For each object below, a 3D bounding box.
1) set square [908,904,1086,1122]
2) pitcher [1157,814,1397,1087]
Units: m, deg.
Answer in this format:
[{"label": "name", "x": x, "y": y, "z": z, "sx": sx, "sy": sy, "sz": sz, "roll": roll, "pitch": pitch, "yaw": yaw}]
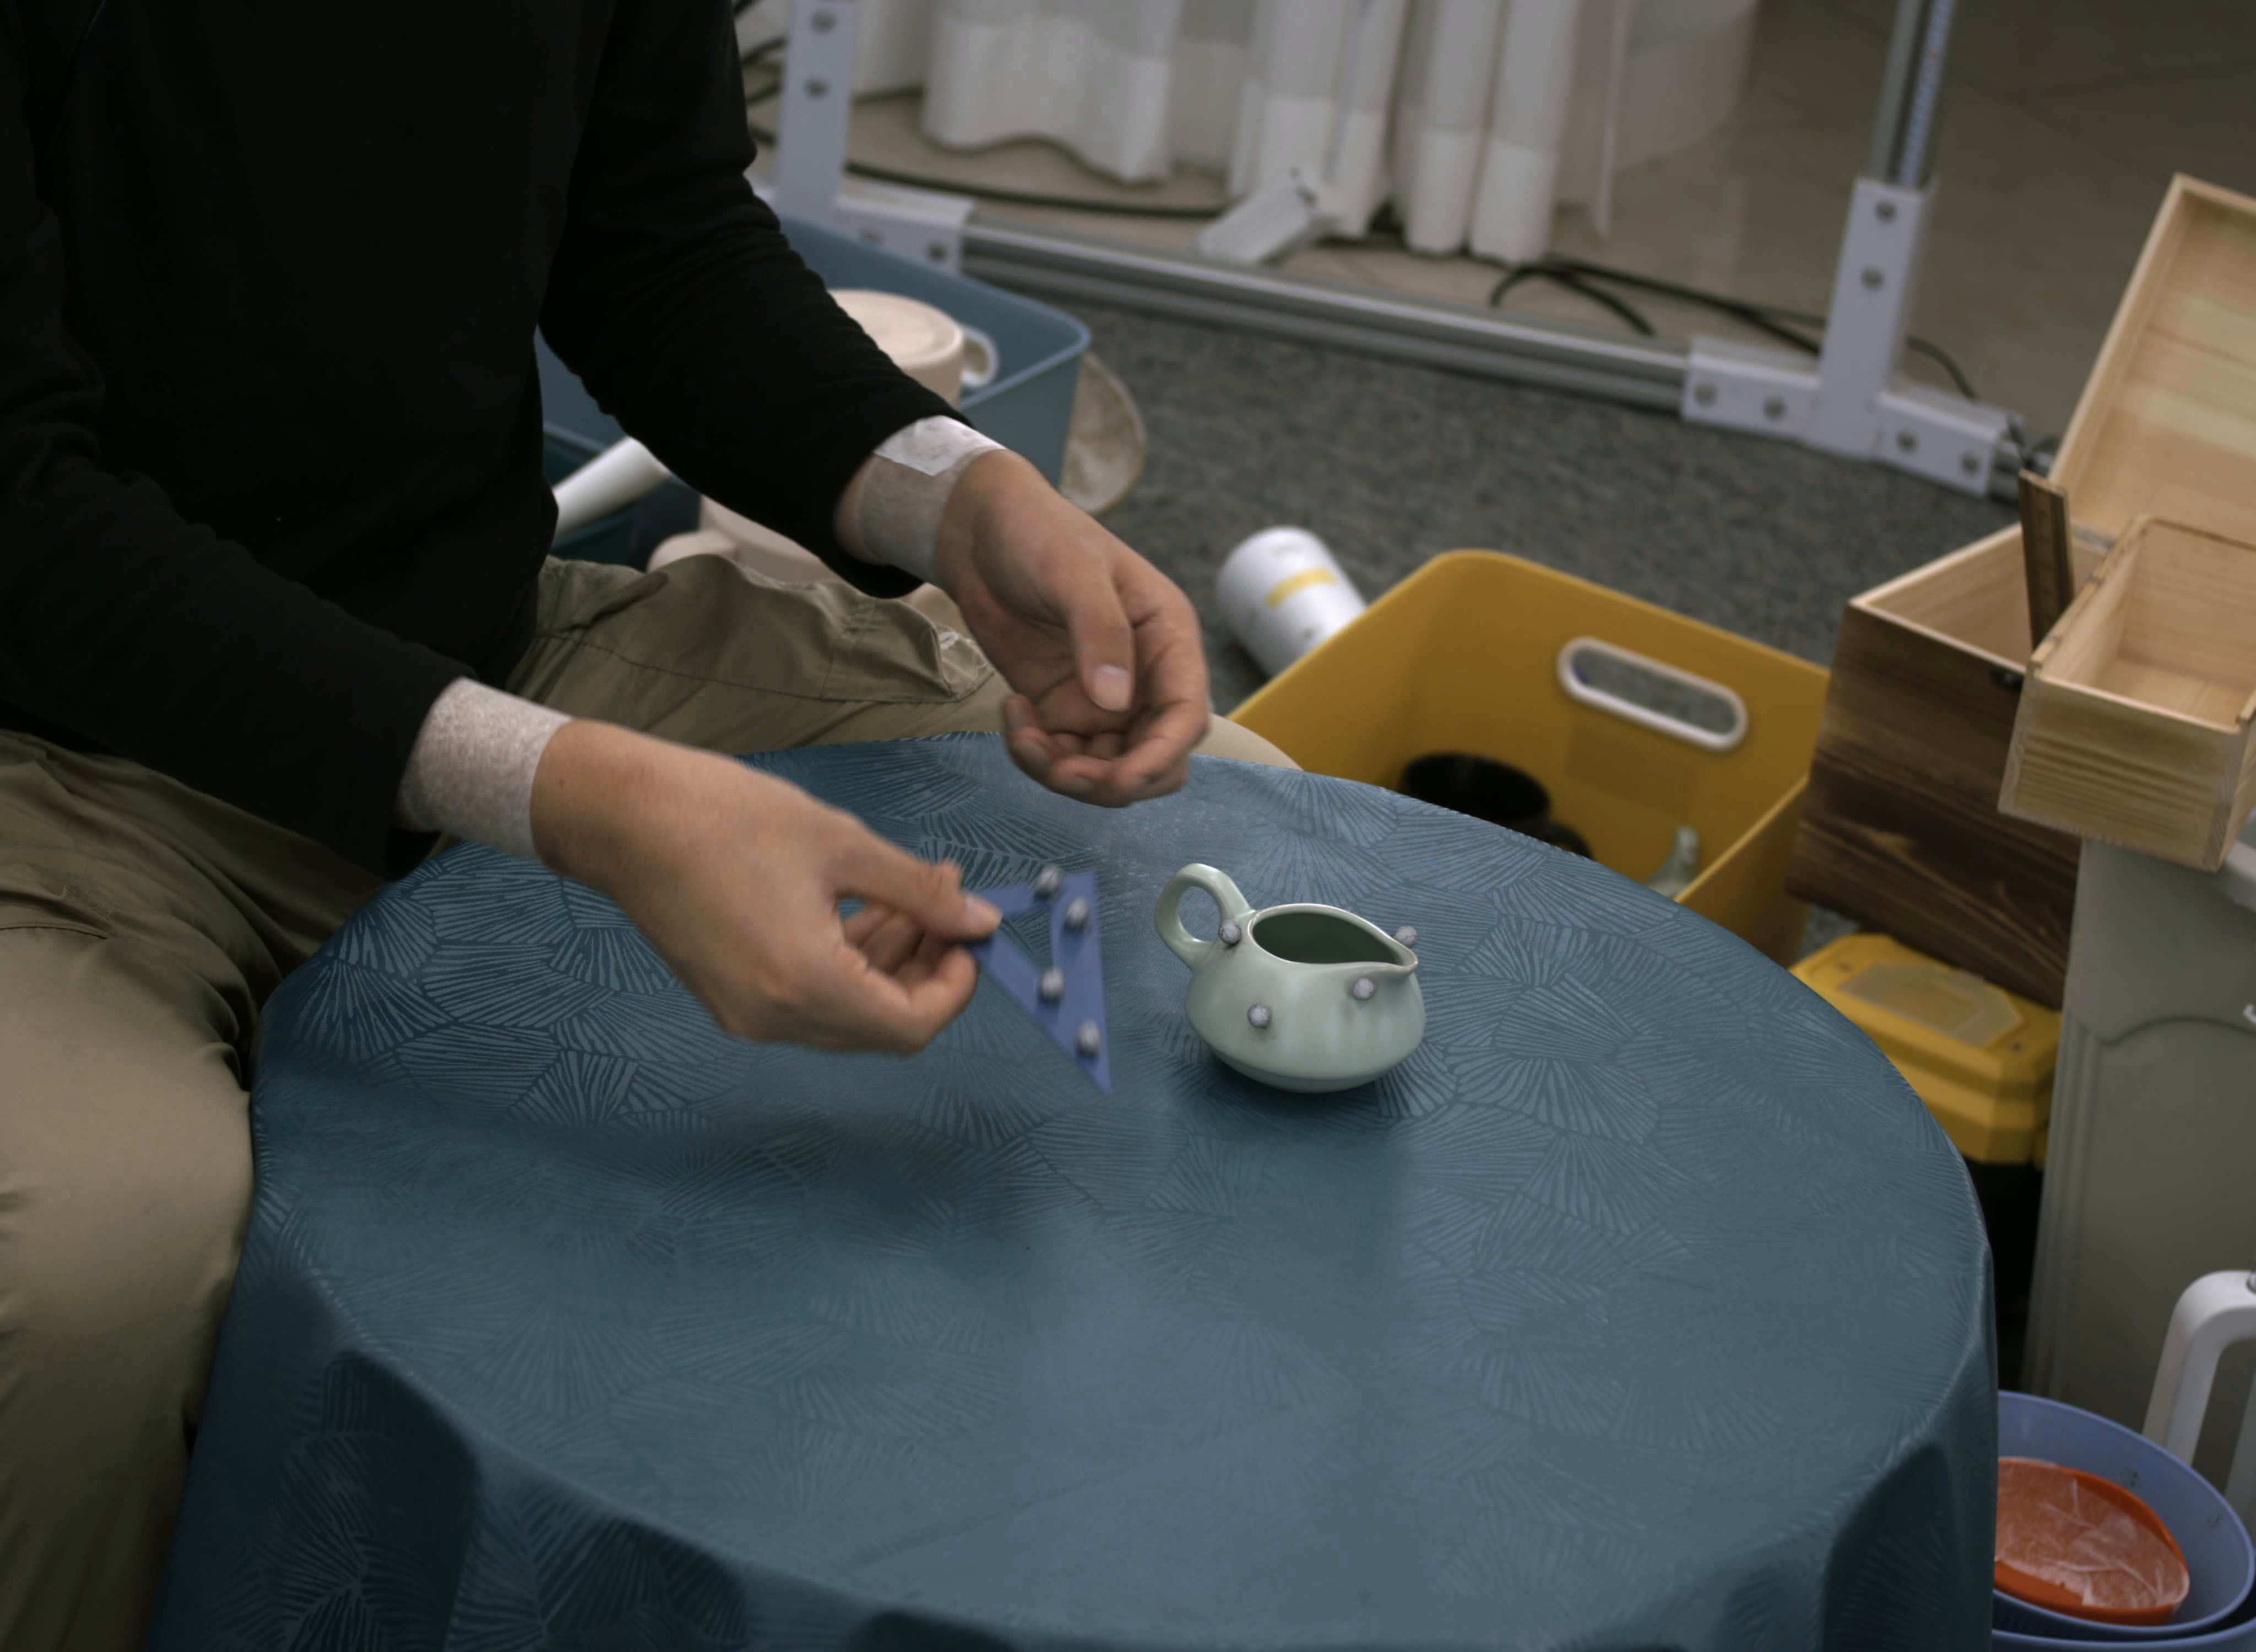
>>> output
[{"label": "set square", "x": -0.044, "y": 0.056, "z": 1.770, "sx": 0.061, "sy": 0.006, "sz": 0.133, "roll": 11, "pitch": 30, "yaw": -8}, {"label": "pitcher", "x": 0.048, "y": 0.045, "z": 1.892, "sx": 0.085, "sy": 0.060, "sz": 0.109, "roll": -23, "pitch": 56, "yaw": -30}]
